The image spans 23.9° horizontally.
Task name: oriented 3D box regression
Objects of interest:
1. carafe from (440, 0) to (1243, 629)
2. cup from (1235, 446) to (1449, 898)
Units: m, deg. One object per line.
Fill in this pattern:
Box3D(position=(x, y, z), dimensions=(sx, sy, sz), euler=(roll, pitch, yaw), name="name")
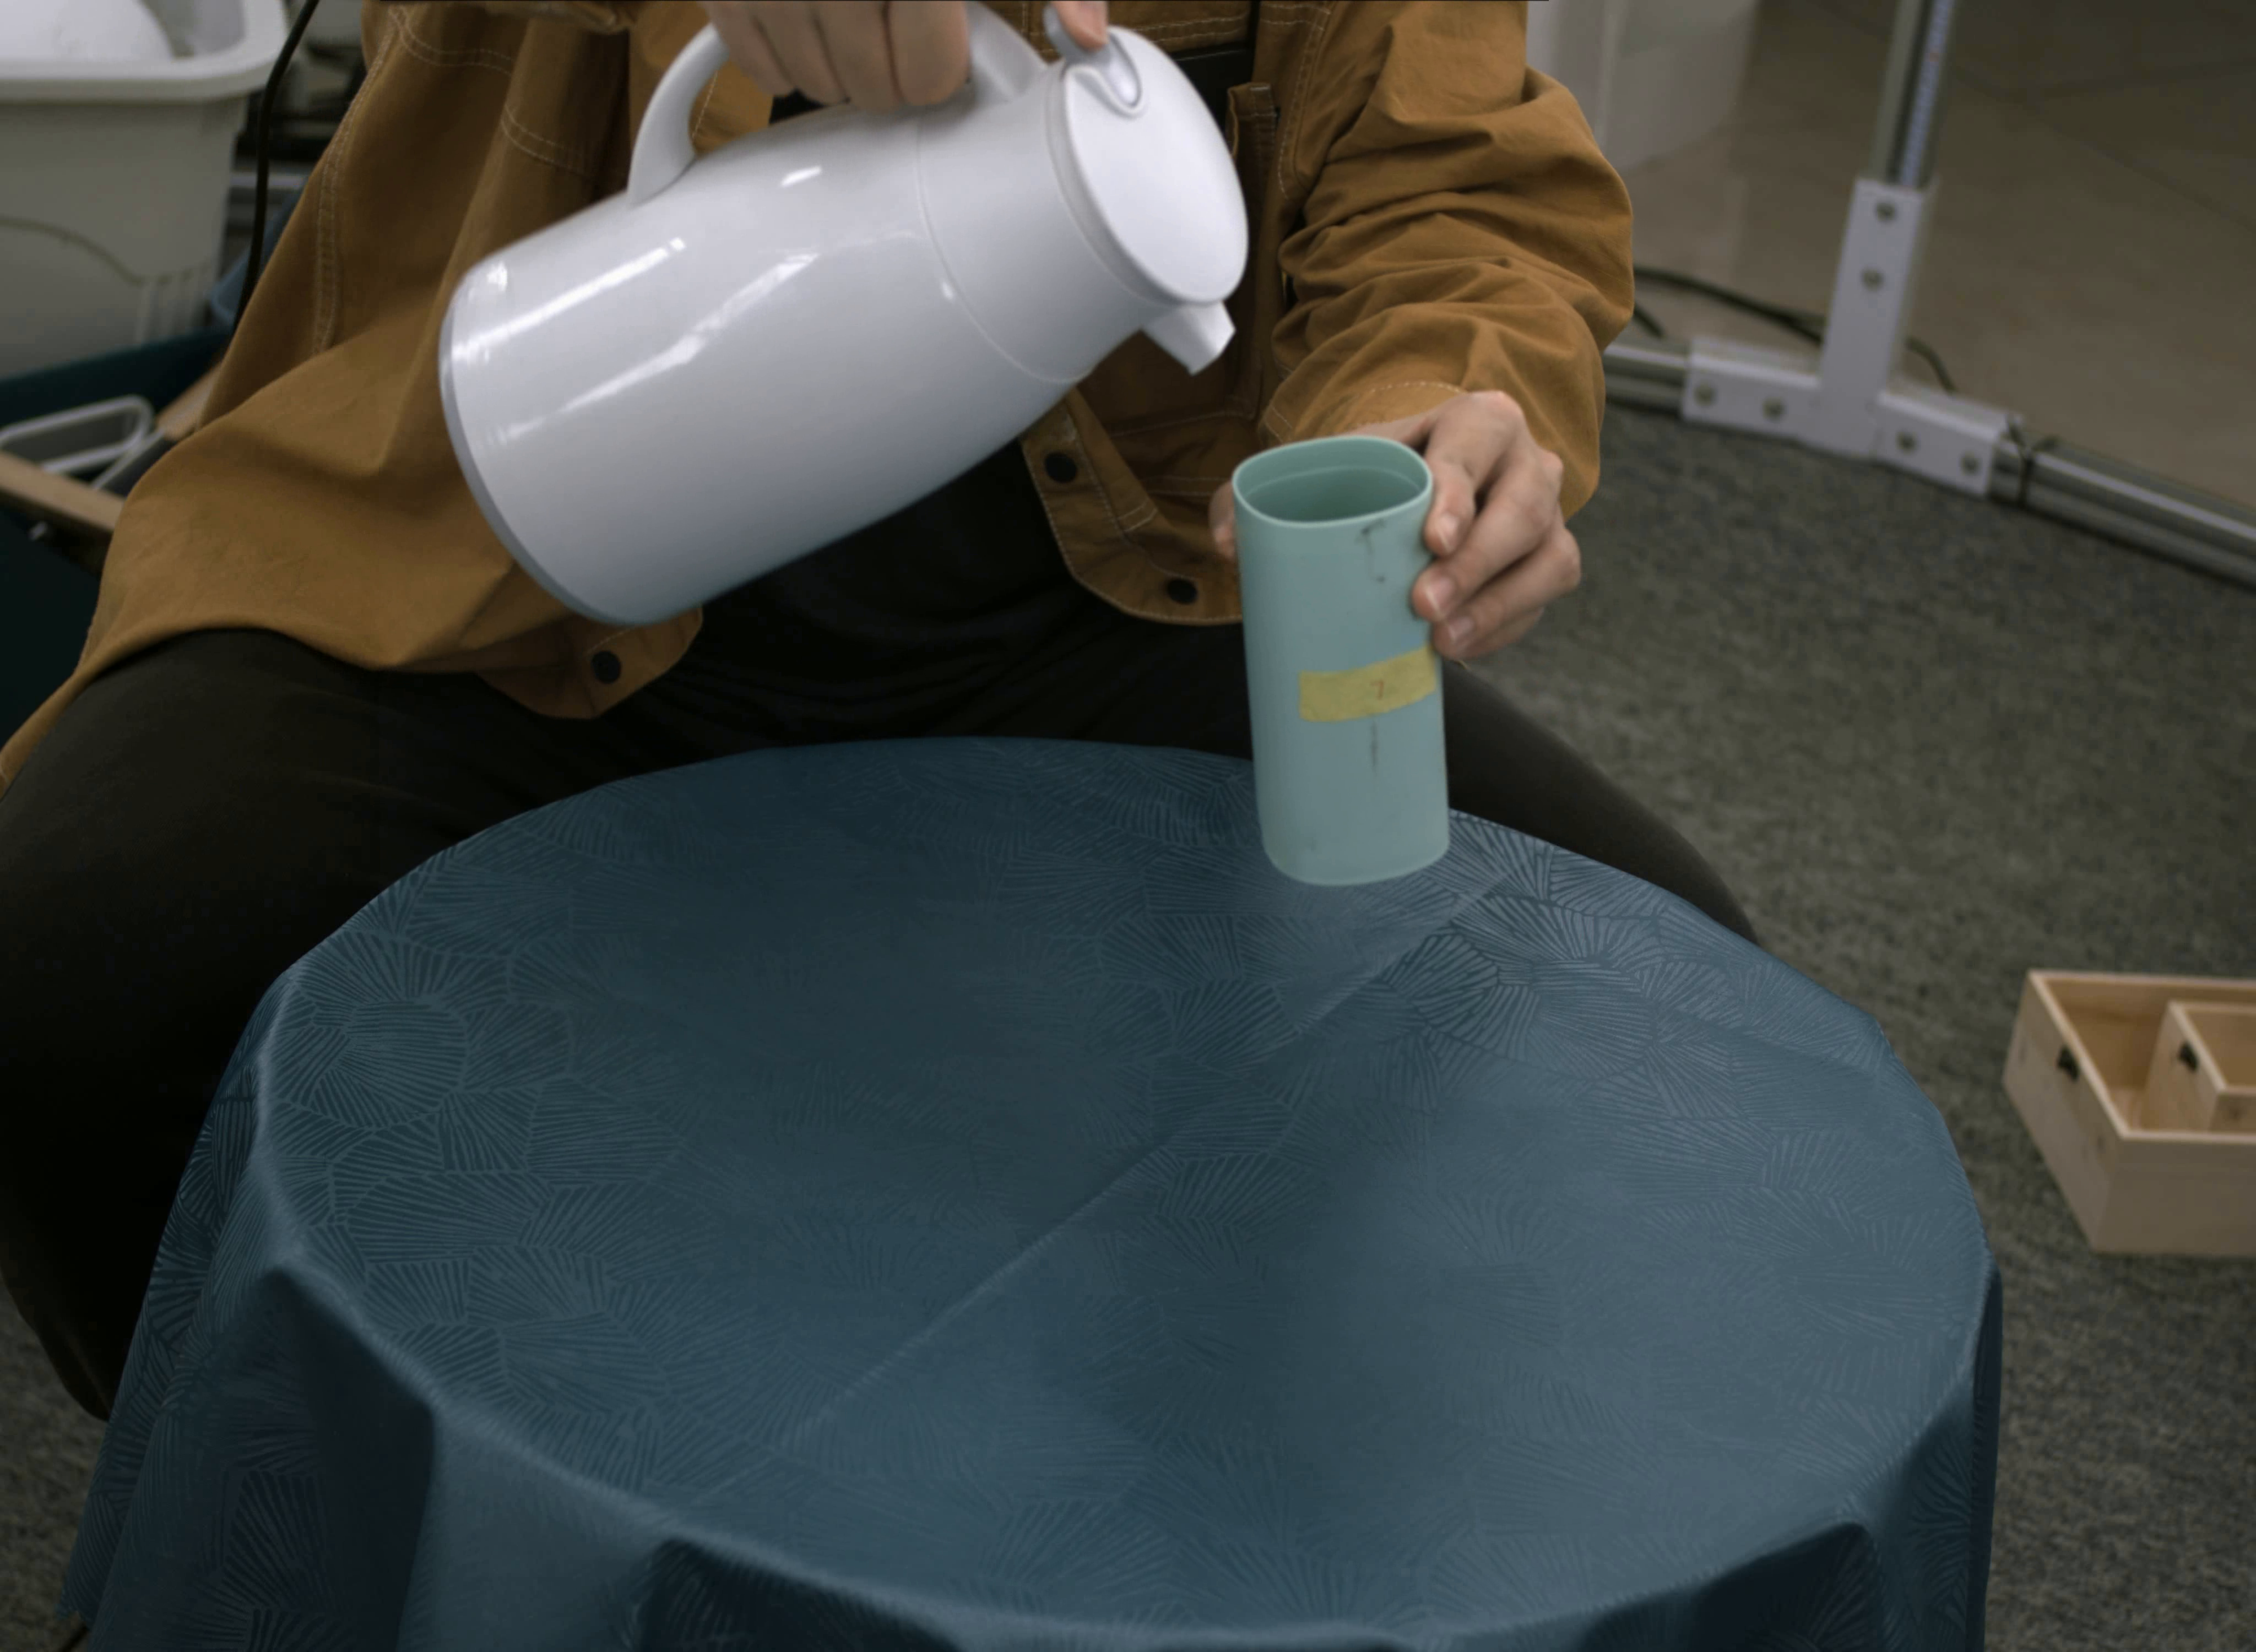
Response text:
Box3D(position=(-0.095, -0.180, 1.678), dimensions=(0.249, 0.167, 0.133), euler=(-23, 22, 32), name="carafe")
Box3D(position=(0.069, -0.050, 1.707), dimensions=(0.066, 0.132, 0.067), euler=(-4, 28, 2), name="cup")
